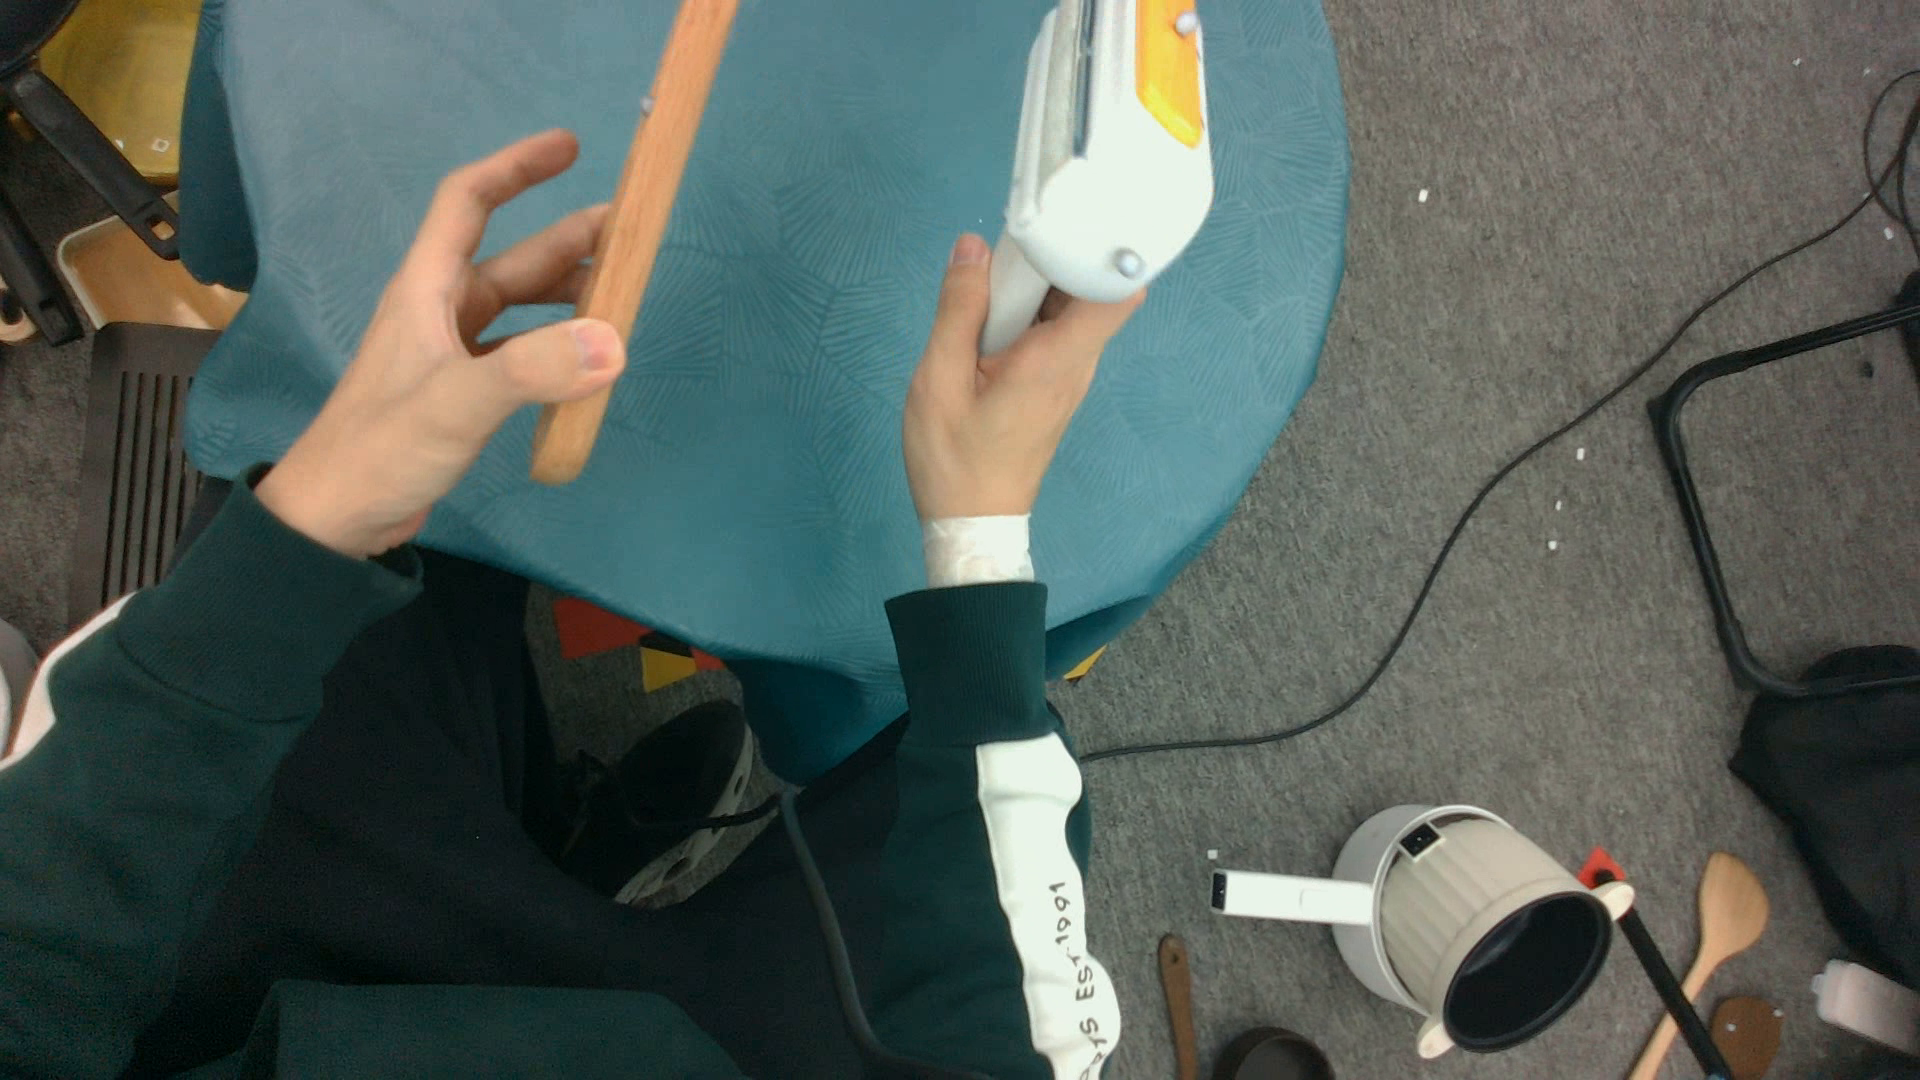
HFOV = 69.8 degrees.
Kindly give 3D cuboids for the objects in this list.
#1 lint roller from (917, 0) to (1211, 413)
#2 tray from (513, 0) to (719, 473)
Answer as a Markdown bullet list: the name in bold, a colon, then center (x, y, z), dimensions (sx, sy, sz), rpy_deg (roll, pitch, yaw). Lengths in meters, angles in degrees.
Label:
- **lint roller**: center (0.024, -0.127, 0.558), dimensions (0.074, 0.191, 0.194), rpy_deg (24, 43, -25)
- **tray**: center (-0.114, -0.148, 0.486), dimensions (0.023, 0.130, 0.250), rpy_deg (17, 100, -20)
